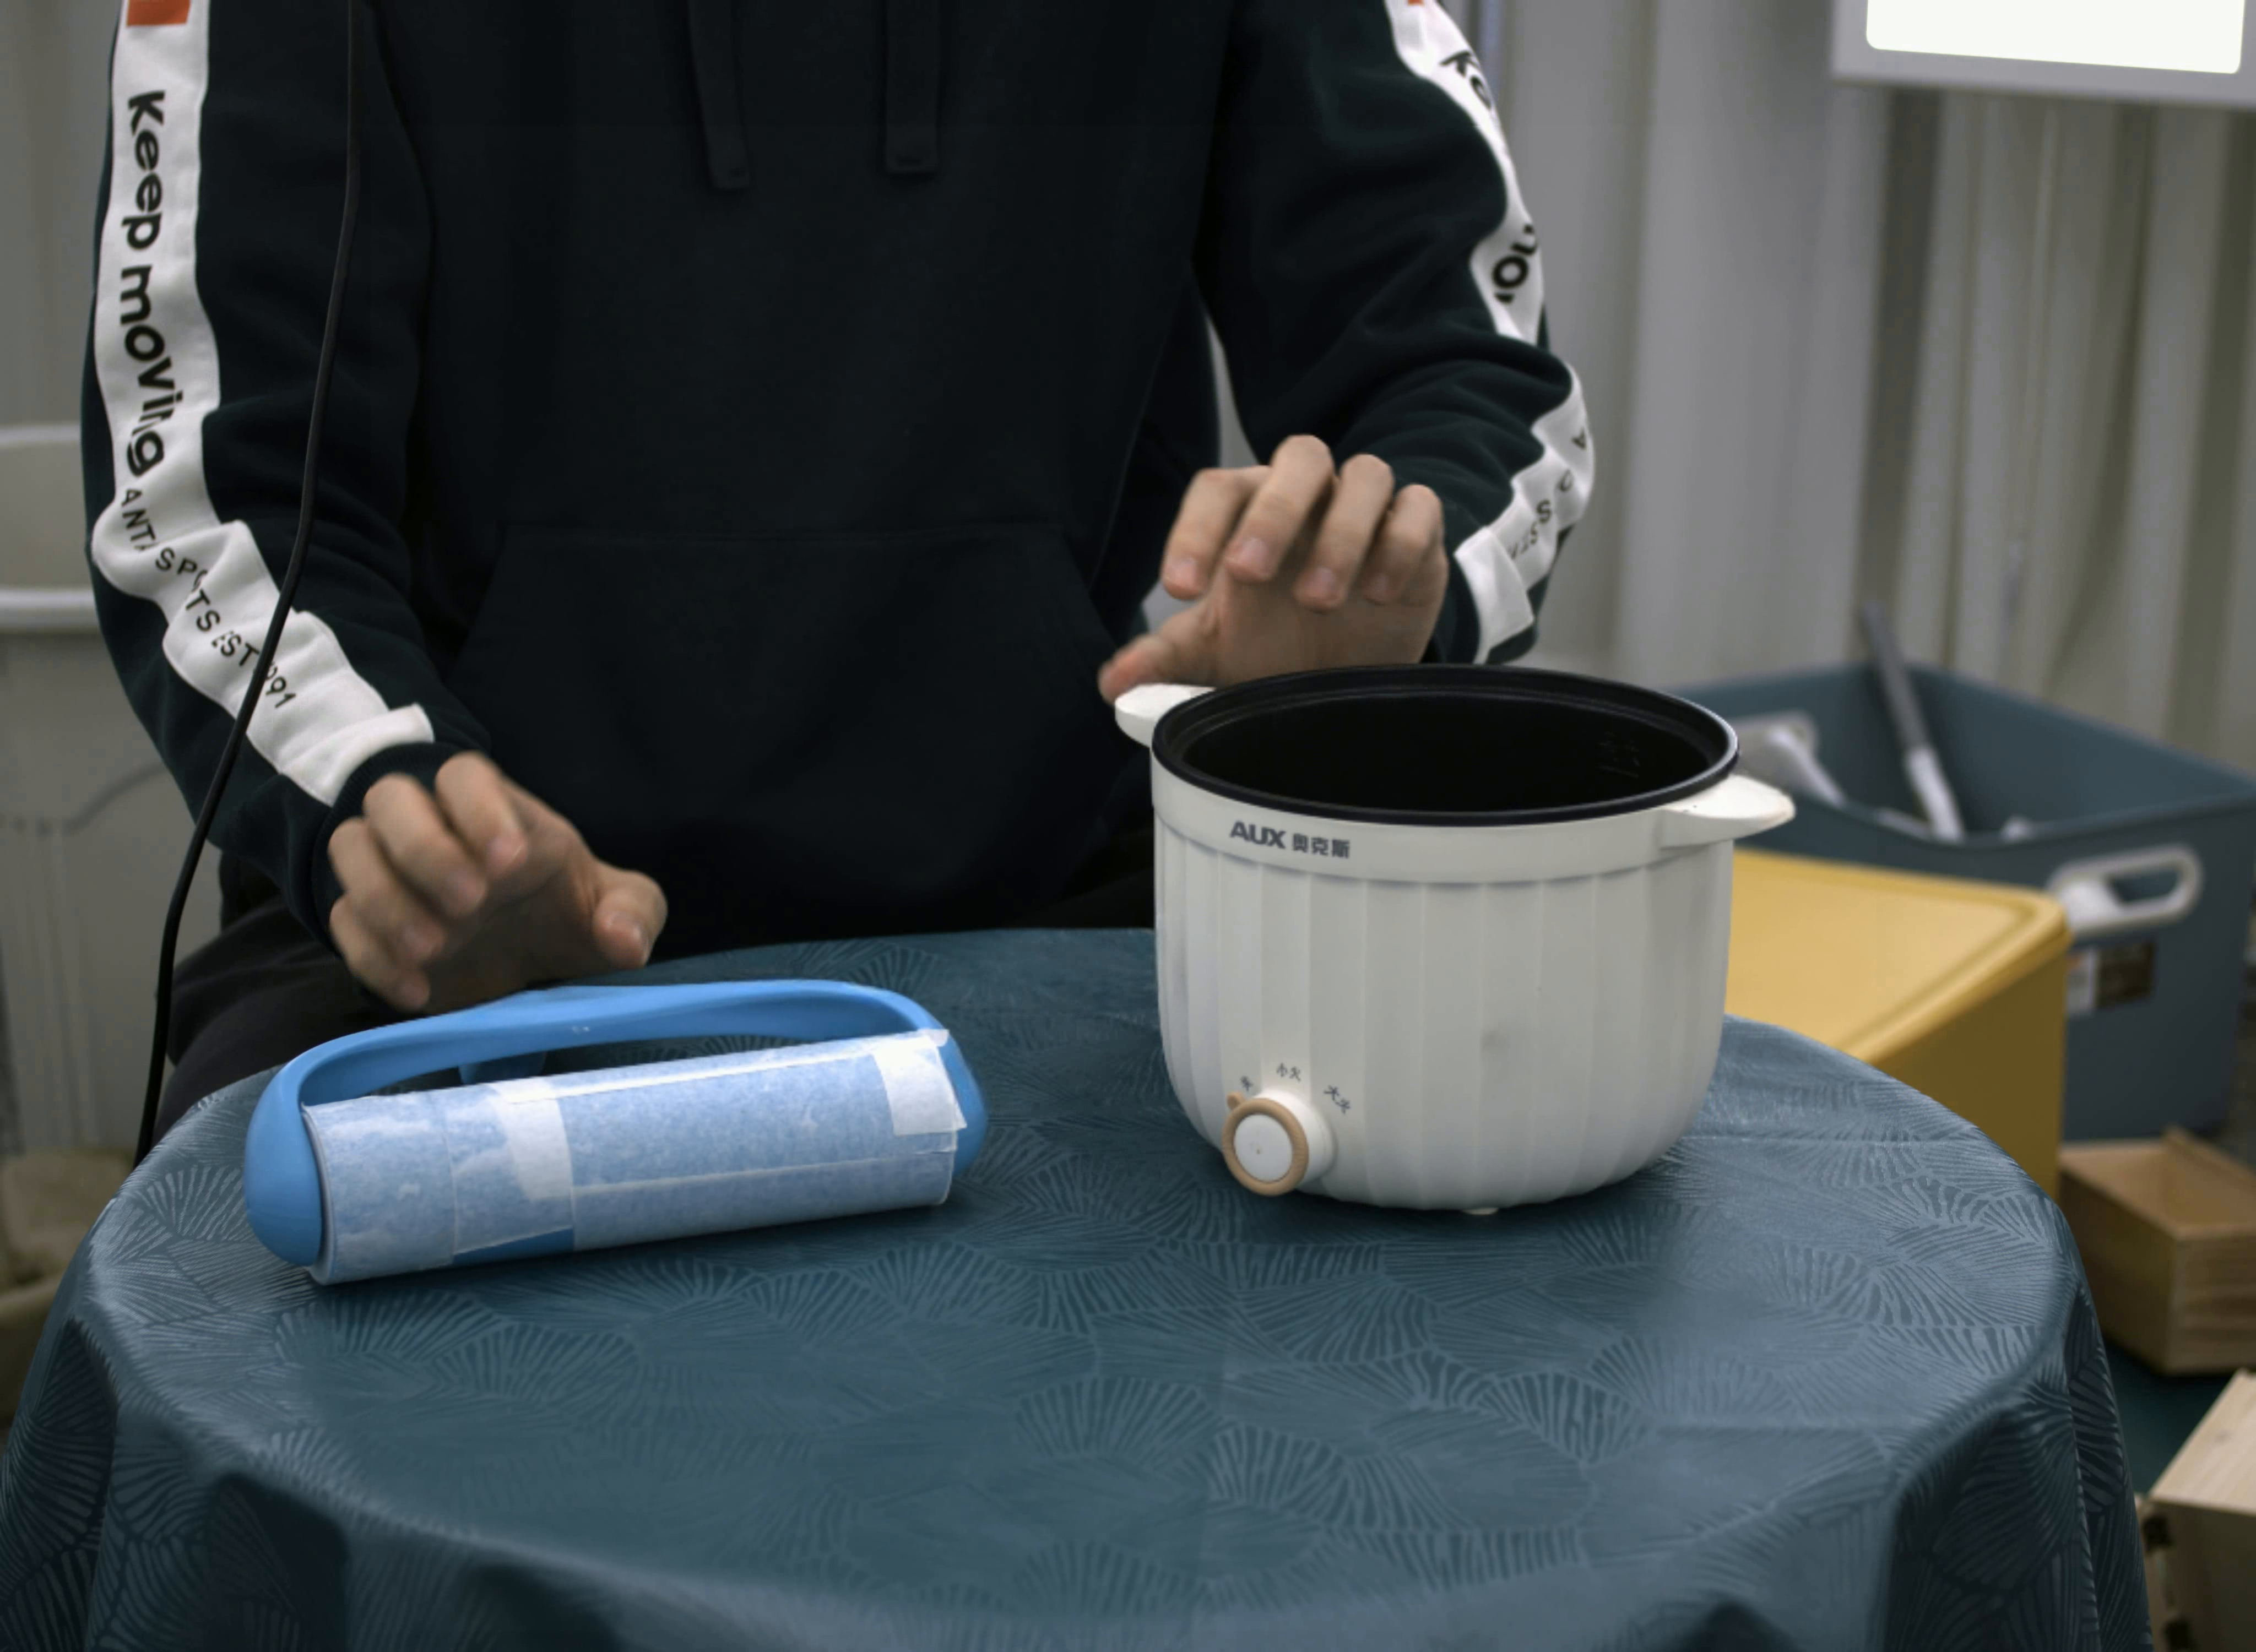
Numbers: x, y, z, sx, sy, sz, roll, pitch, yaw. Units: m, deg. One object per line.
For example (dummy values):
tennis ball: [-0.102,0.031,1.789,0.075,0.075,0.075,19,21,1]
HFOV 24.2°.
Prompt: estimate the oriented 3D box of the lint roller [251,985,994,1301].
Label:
lint roller: [-0.173,0.084,1.614,0.230,0.068,0.178,-9,19,-25]

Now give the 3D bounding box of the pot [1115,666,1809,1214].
pot: [0.097,0.037,1.632,0.237,0.143,0.191,9,15,32]
